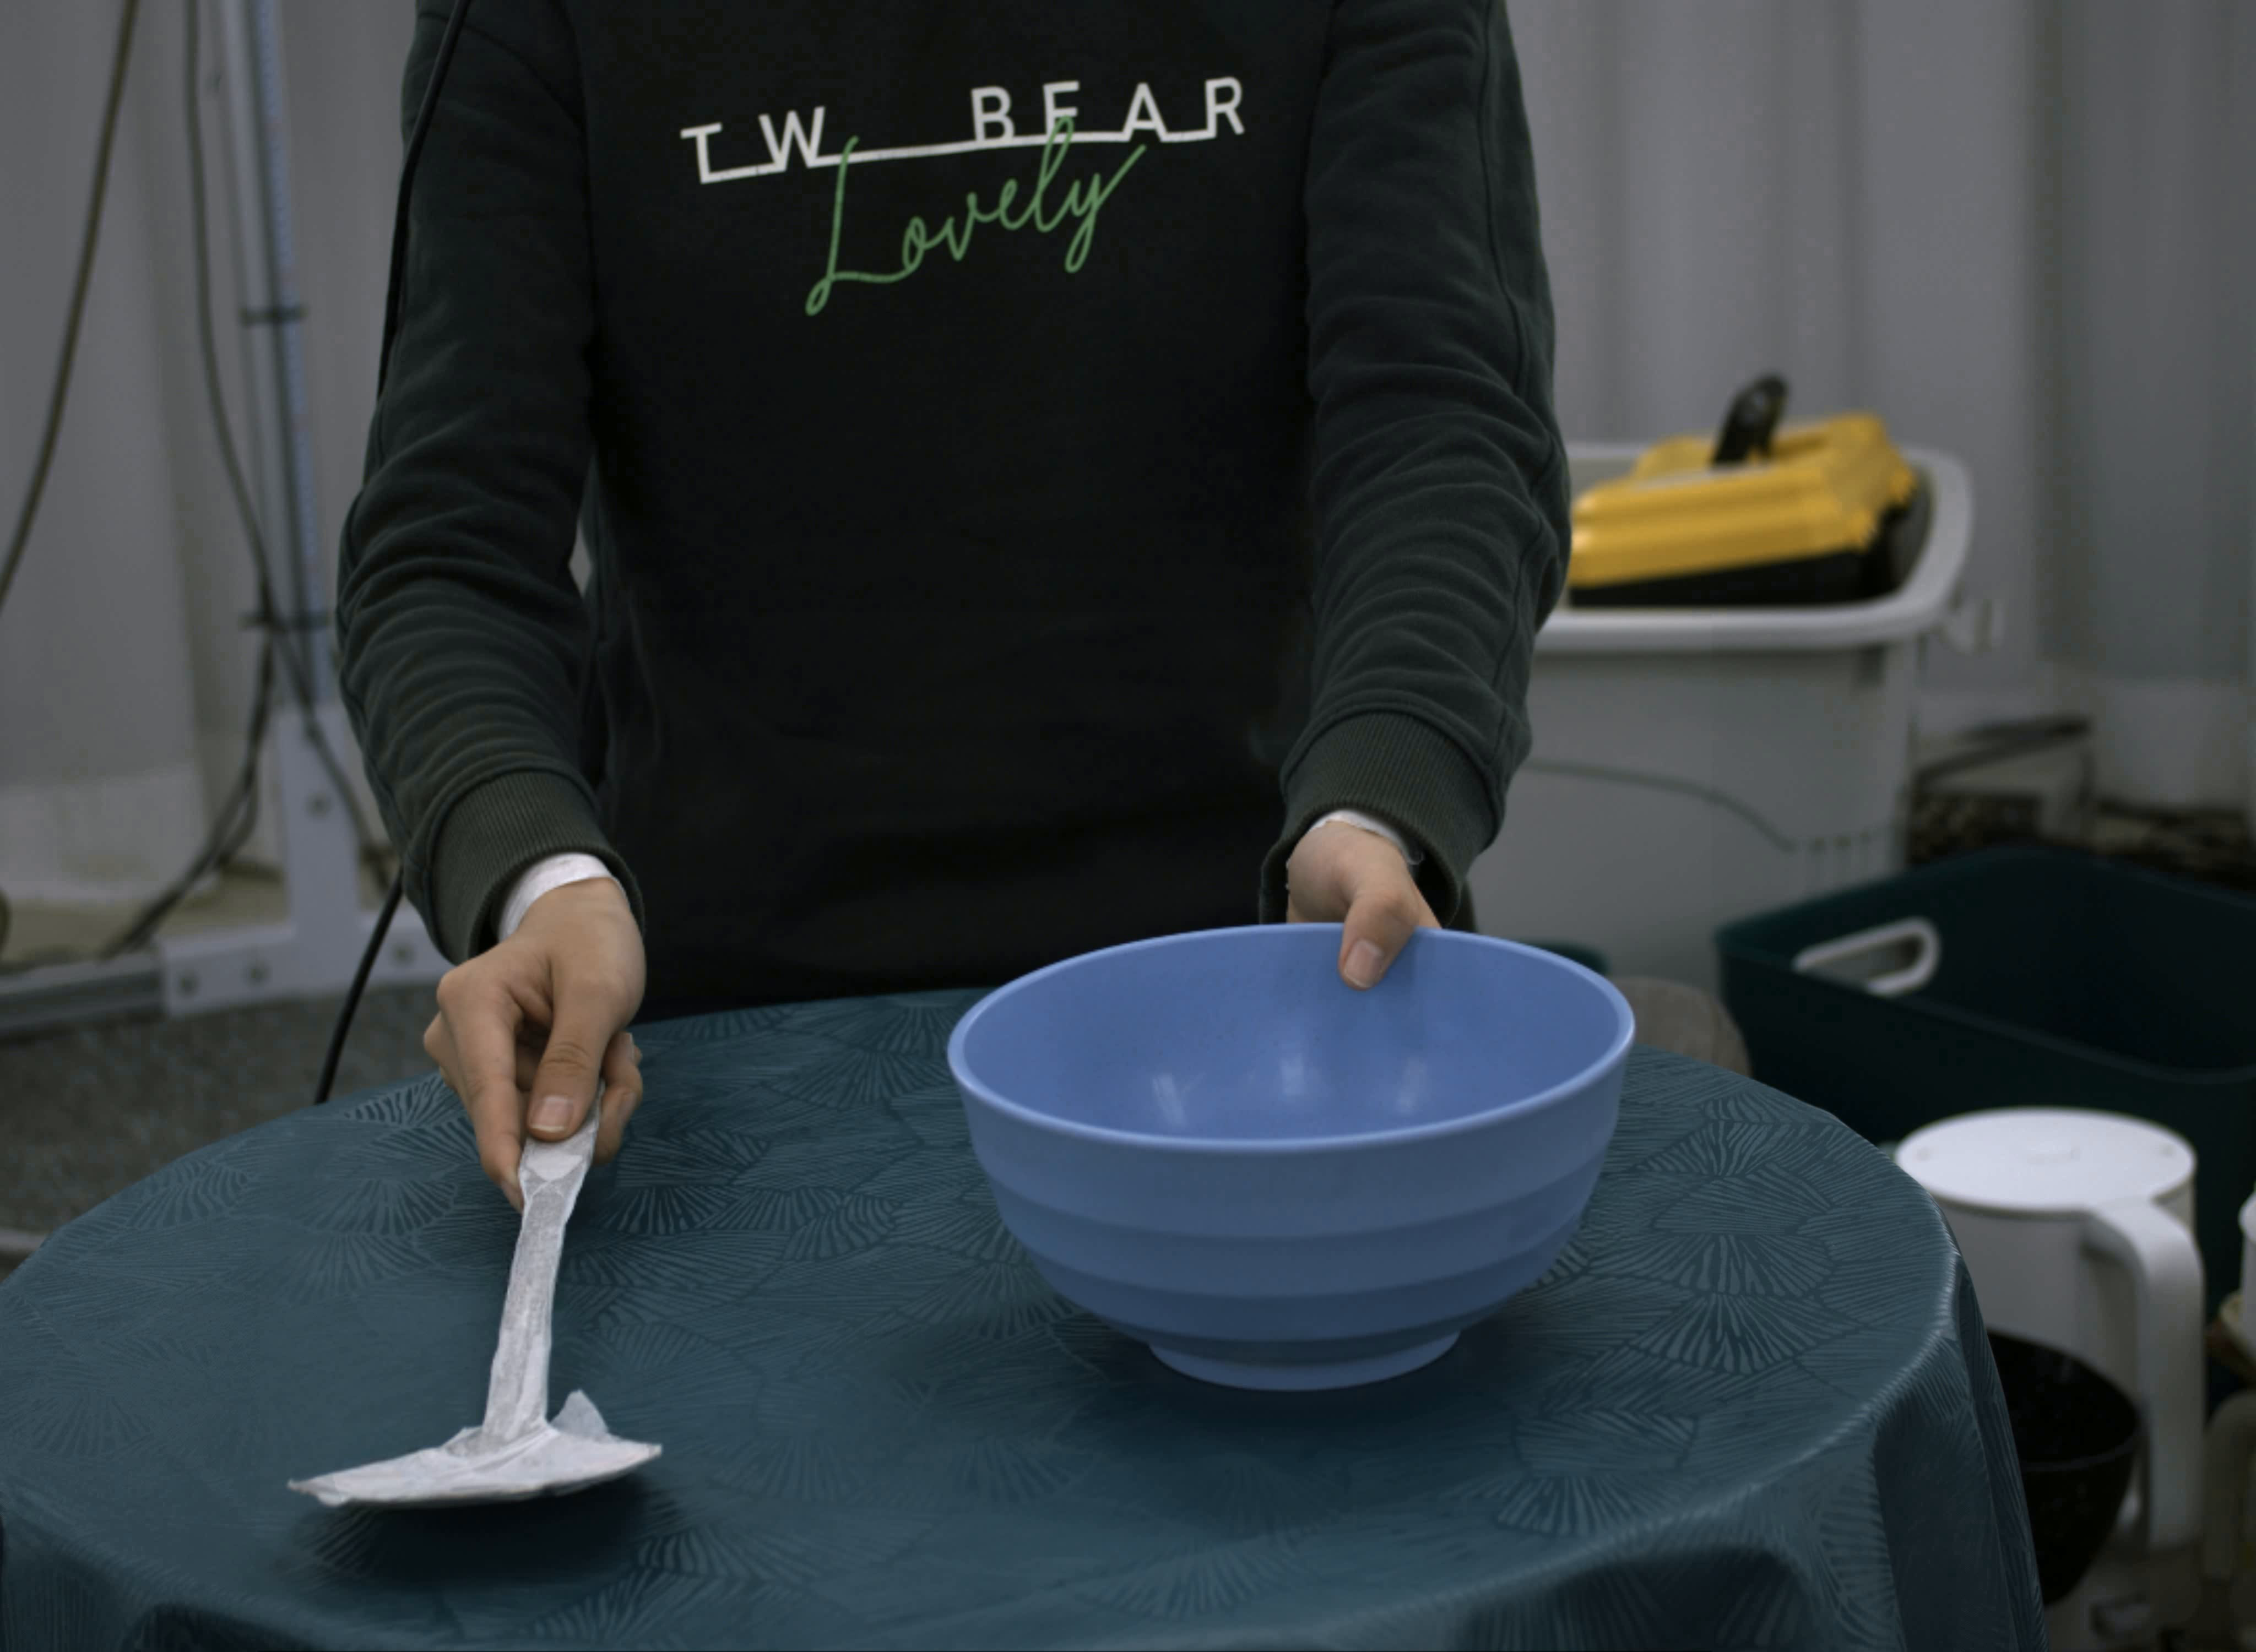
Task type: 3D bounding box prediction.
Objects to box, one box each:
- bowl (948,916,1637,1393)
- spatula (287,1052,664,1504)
[{"bbox_3d":[0.049,0.101,1.567,0.196,0.095,0.198,-4,17,1],"label":"bowl"},{"bbox_3d":[-0.169,0.123,1.592,0.098,0.044,0.368,-7,21,3],"label":"spatula"}]
